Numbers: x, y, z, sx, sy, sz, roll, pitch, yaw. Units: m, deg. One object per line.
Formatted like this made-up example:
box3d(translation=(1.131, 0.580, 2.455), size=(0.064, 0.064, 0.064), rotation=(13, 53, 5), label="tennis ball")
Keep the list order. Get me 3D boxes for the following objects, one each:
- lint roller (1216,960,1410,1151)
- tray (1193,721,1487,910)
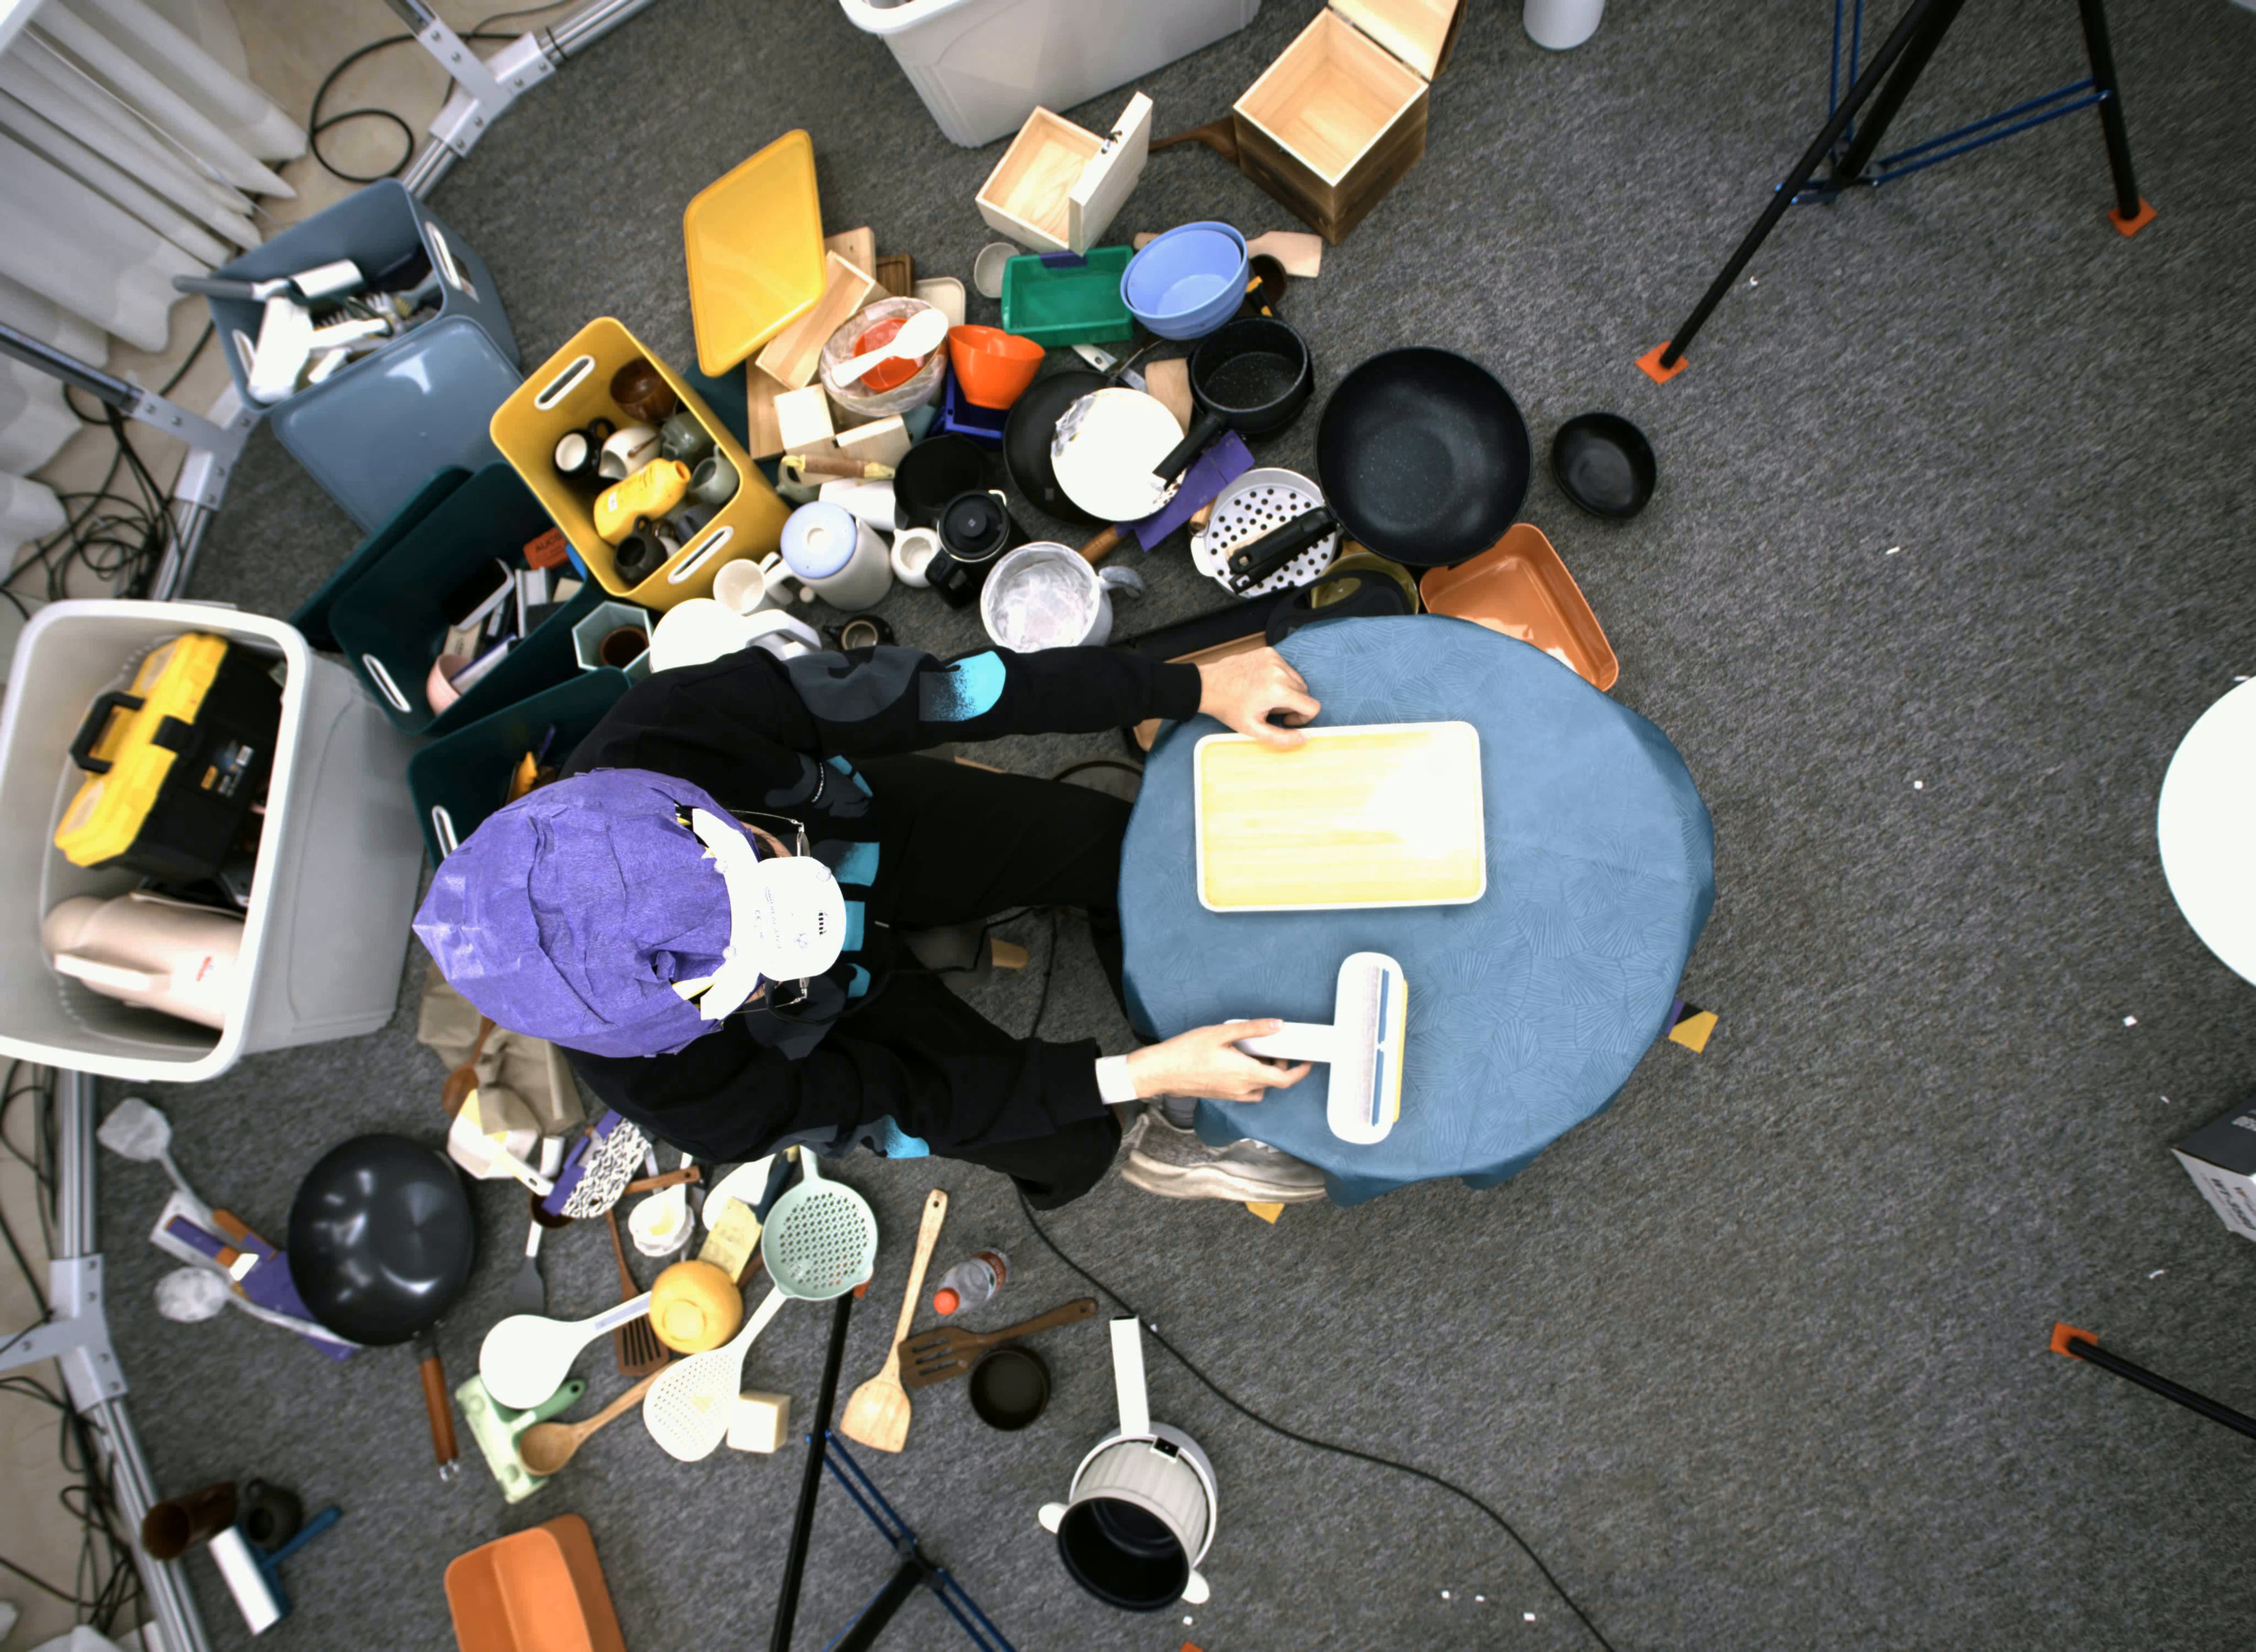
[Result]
box3d(translation=(0.184, 0.224, 1.426), size=(0.193, 0.074, 0.191), rotation=(8, 83, 9), label="lint roller")
box3d(translation=(0.221, -0.011, 1.455), size=(0.301, 0.027, 0.190), rotation=(-2, 86, 10), label="tray")
